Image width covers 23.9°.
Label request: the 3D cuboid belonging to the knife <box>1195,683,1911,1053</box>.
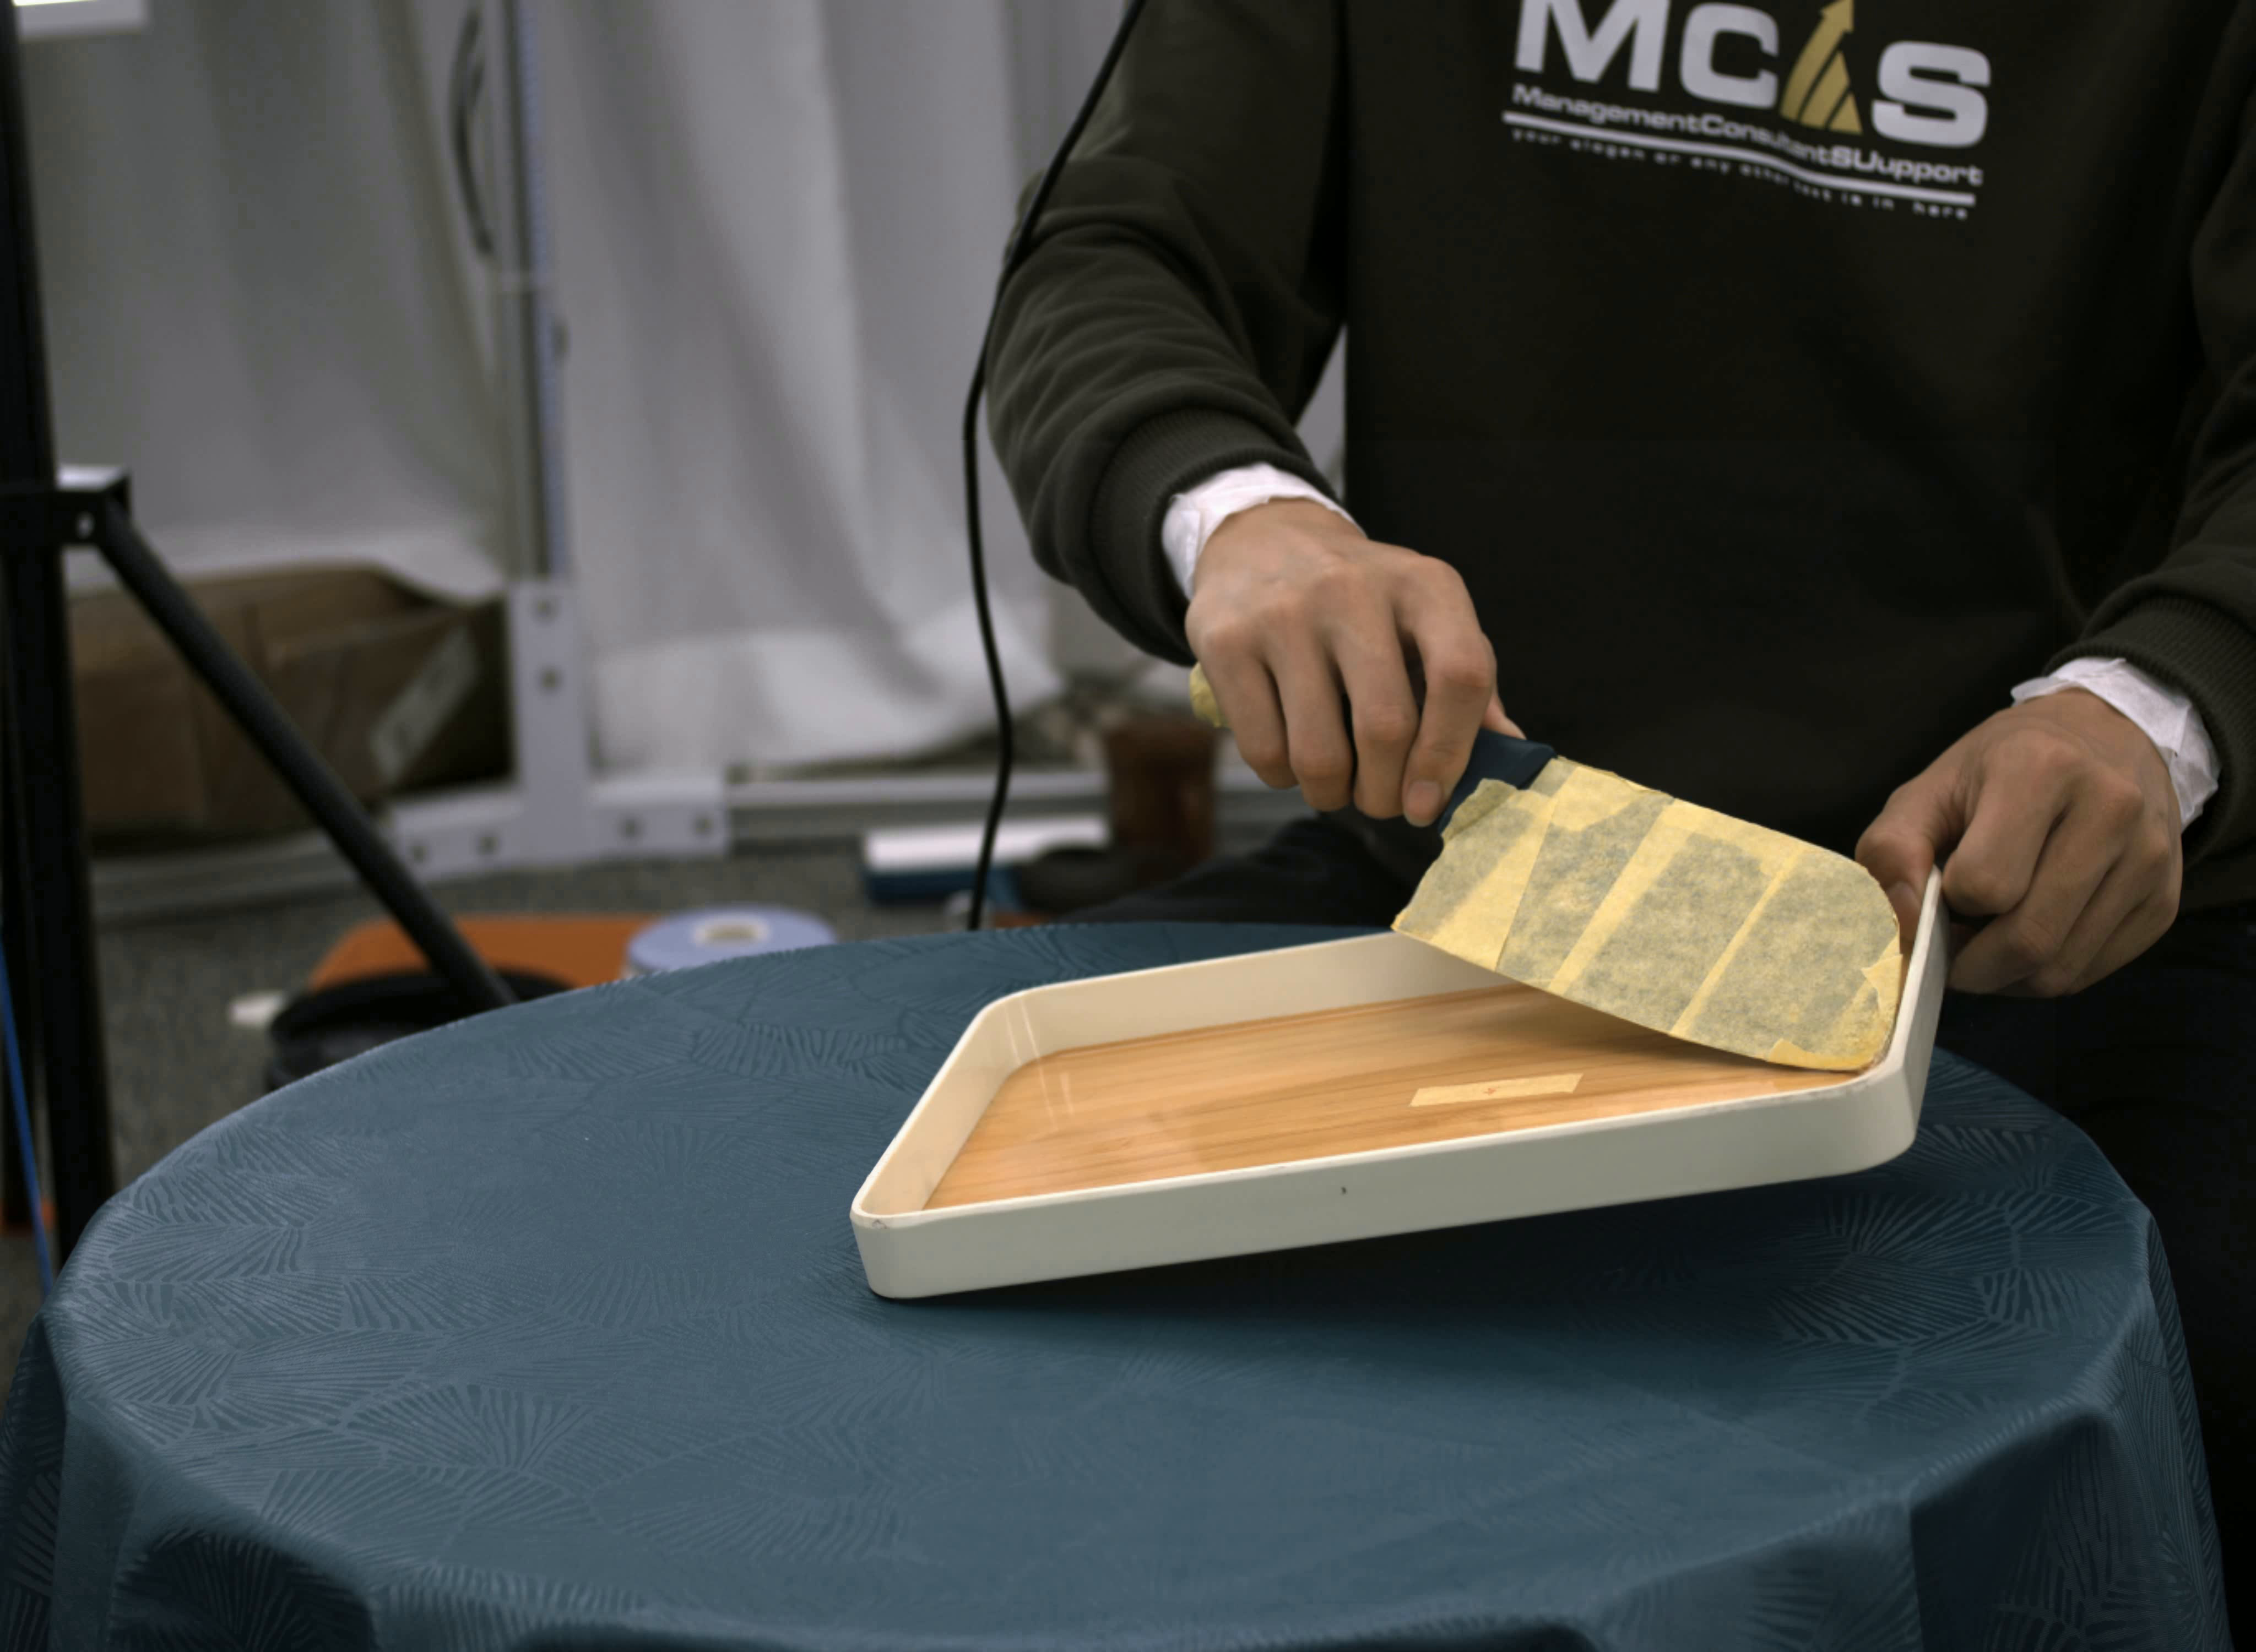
[{"bbox_3d":[0.117,0.010,1.566,0.296,0.027,0.080,23,65,44],"label":"knife"}]

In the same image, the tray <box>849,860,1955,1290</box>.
[{"bbox_3d":[0.083,0.071,1.521,0.303,0.027,0.190,-9,16,17],"label":"tray"}]
